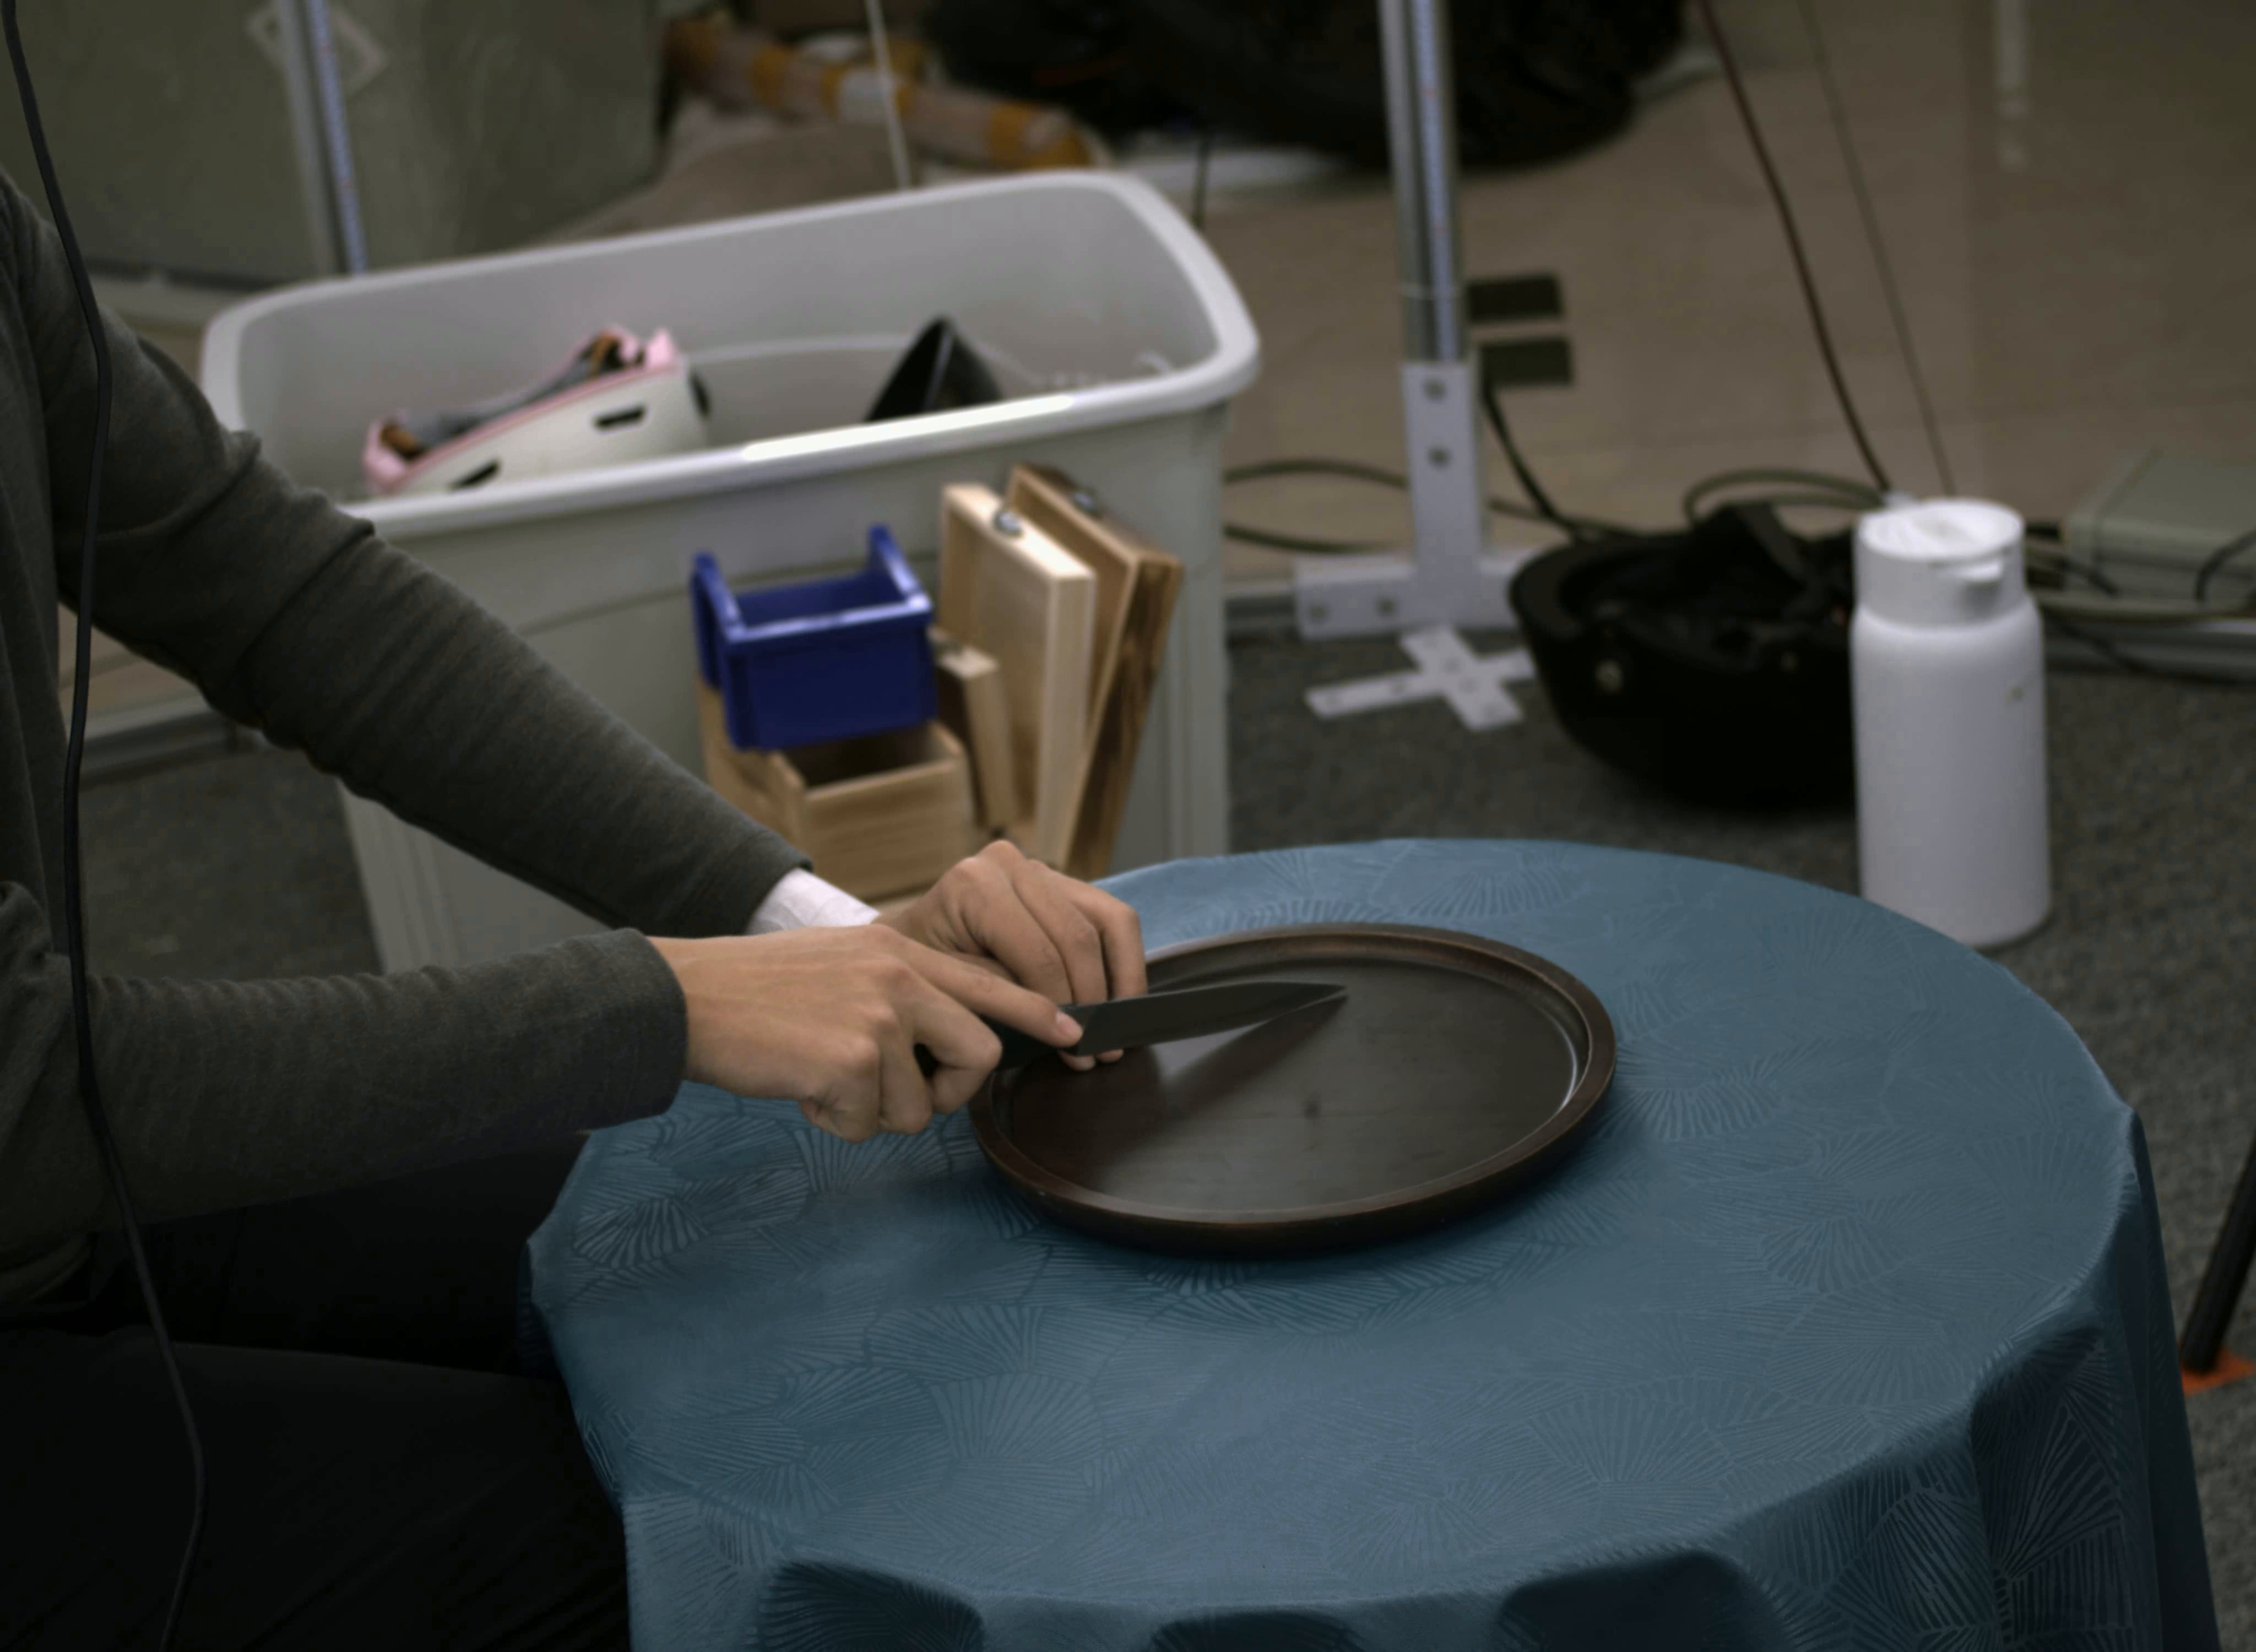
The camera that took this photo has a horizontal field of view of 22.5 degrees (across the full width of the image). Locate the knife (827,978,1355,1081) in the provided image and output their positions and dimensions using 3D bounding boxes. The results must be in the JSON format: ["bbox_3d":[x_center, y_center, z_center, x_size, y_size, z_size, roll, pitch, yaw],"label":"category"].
[{"bbox_3d":[-0.011,0.075,2.198,0.237,0.025,0.016,-6,14,-31],"label":"knife"}]

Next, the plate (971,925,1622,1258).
[{"bbox_3d":[0.065,0.101,2.191,0.254,0.029,0.251,-4,24,2],"label":"plate"}]
